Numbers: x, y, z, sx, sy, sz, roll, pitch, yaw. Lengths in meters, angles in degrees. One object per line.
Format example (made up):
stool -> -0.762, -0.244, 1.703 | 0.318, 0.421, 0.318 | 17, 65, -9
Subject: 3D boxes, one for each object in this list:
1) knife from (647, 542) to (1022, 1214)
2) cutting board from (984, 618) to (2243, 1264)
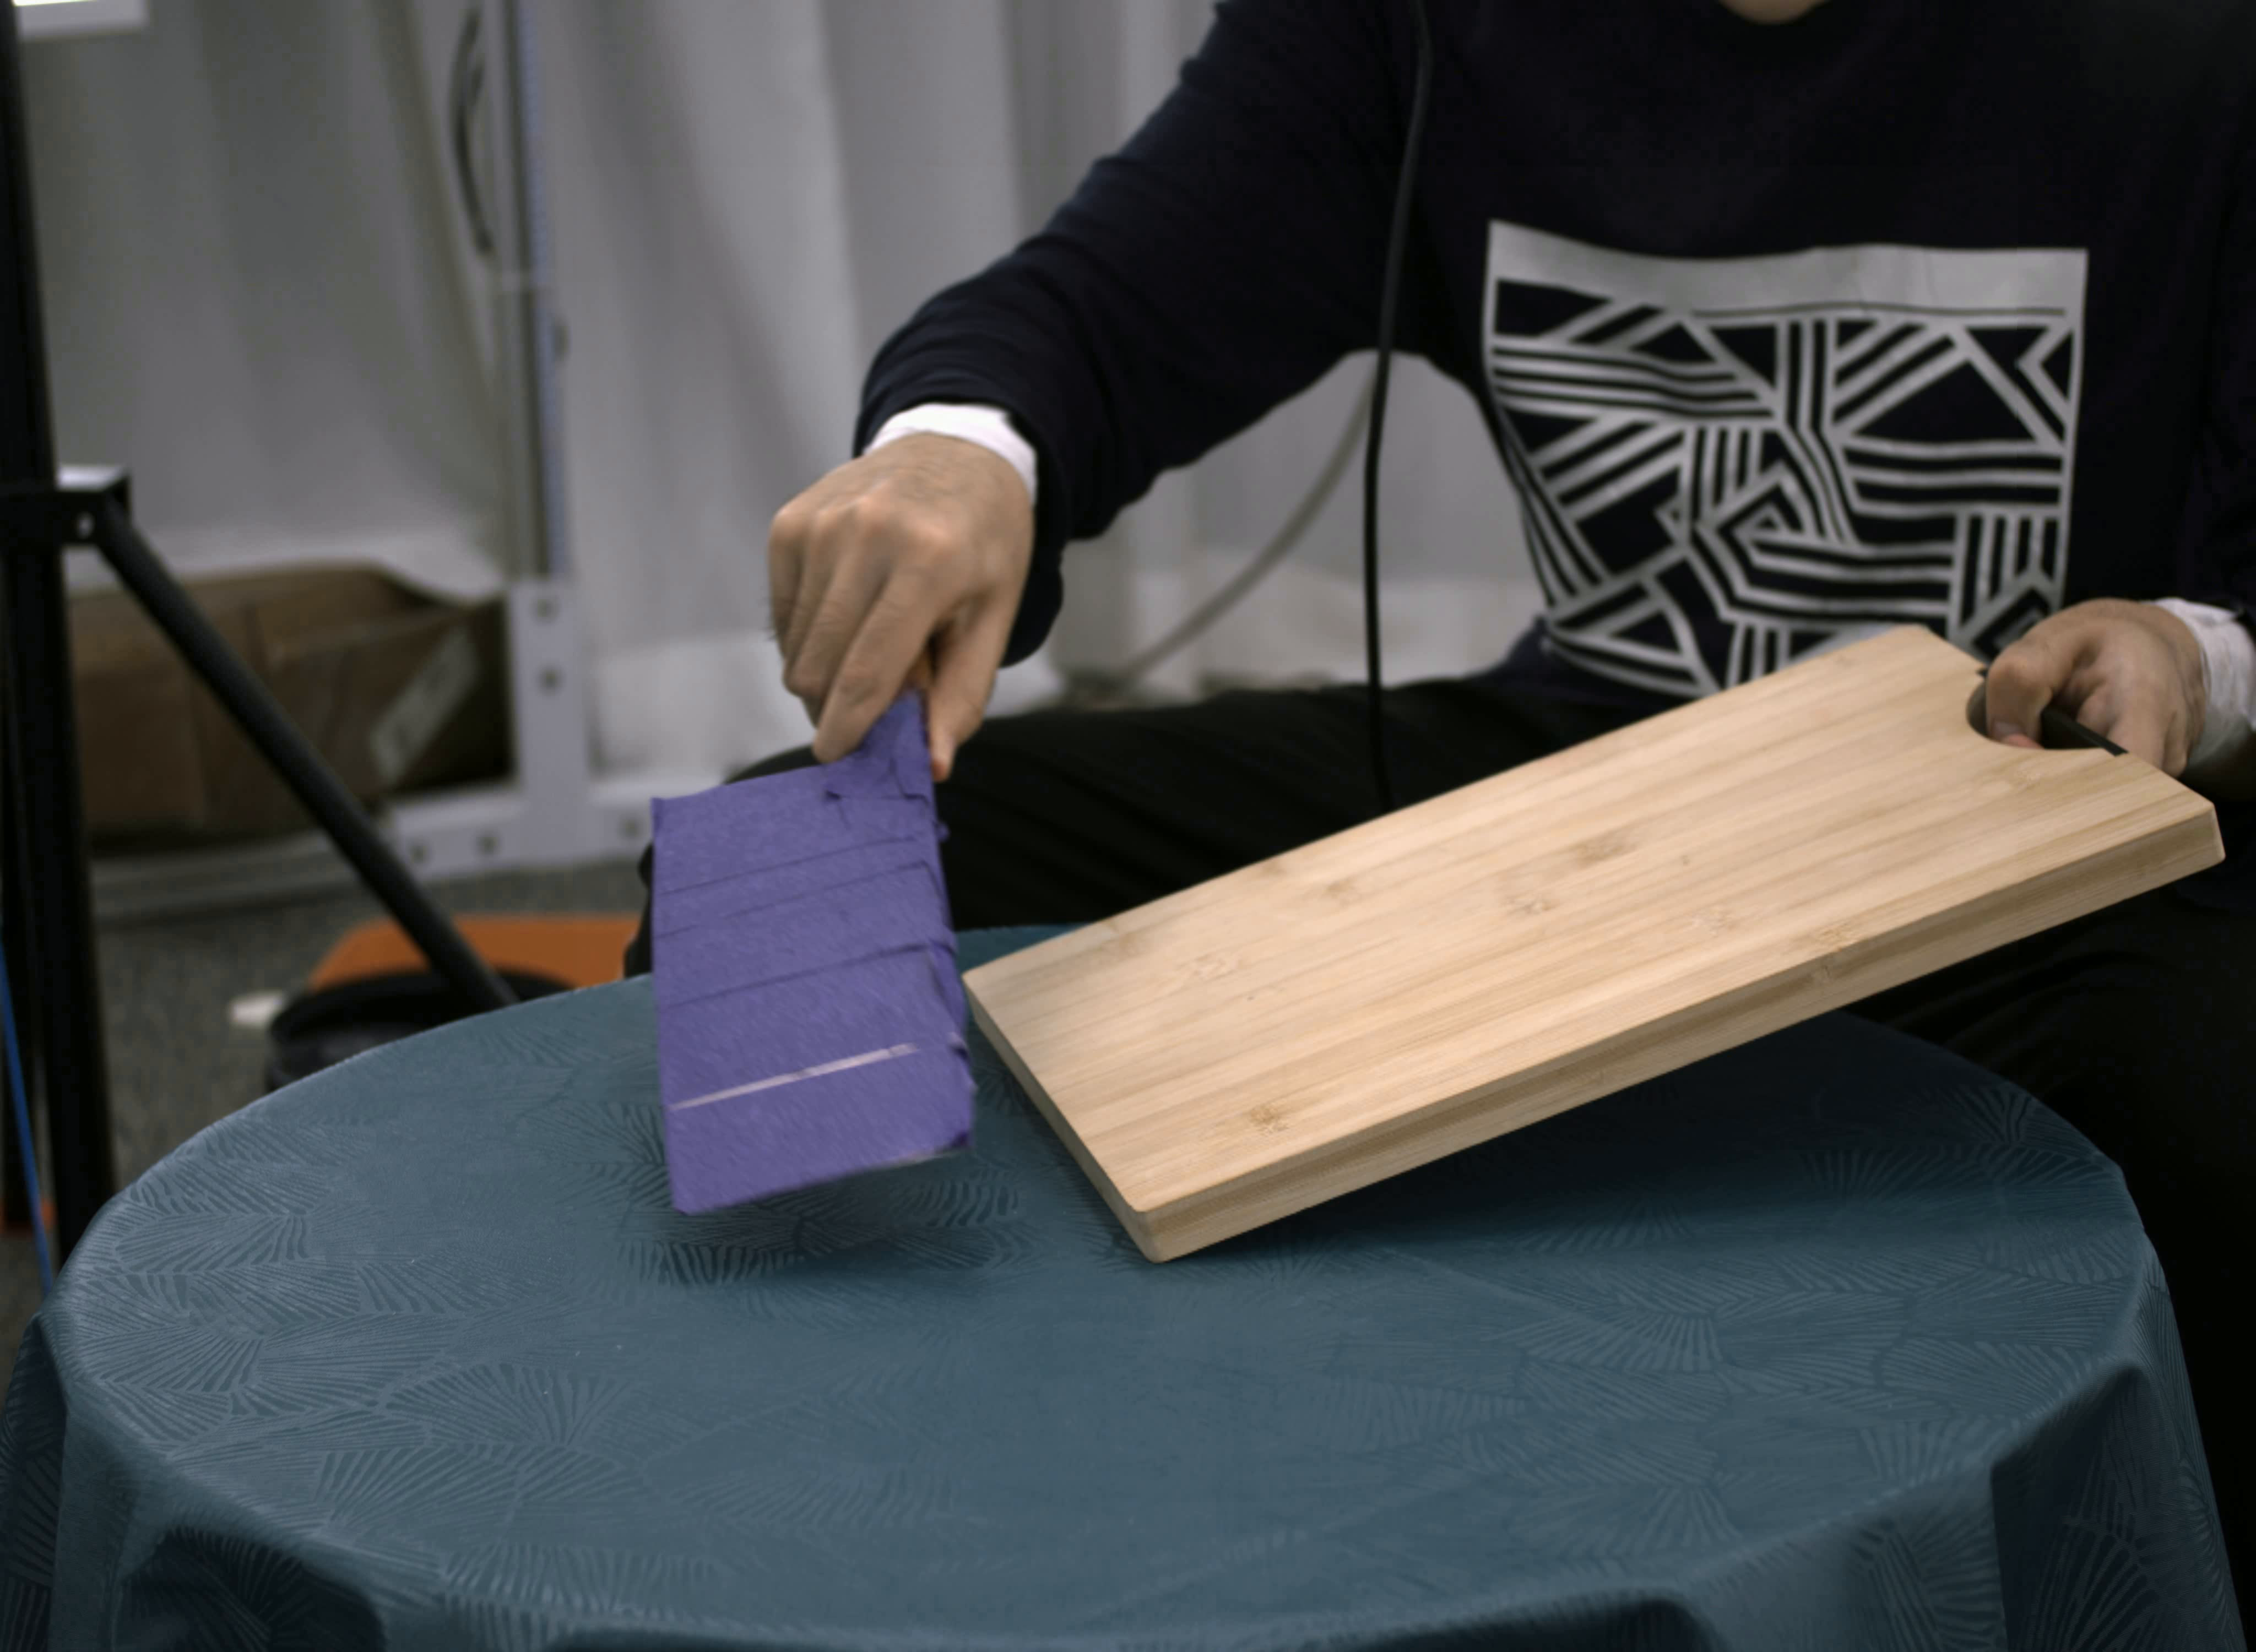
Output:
knife -> -0.097, 0.010, 1.628 | 0.103, 0.032, 0.319 | -12, 34, 1
cutting board -> 0.138, 0.028, 1.630 | 0.345, 0.023, 0.254 | -20, 19, -8
